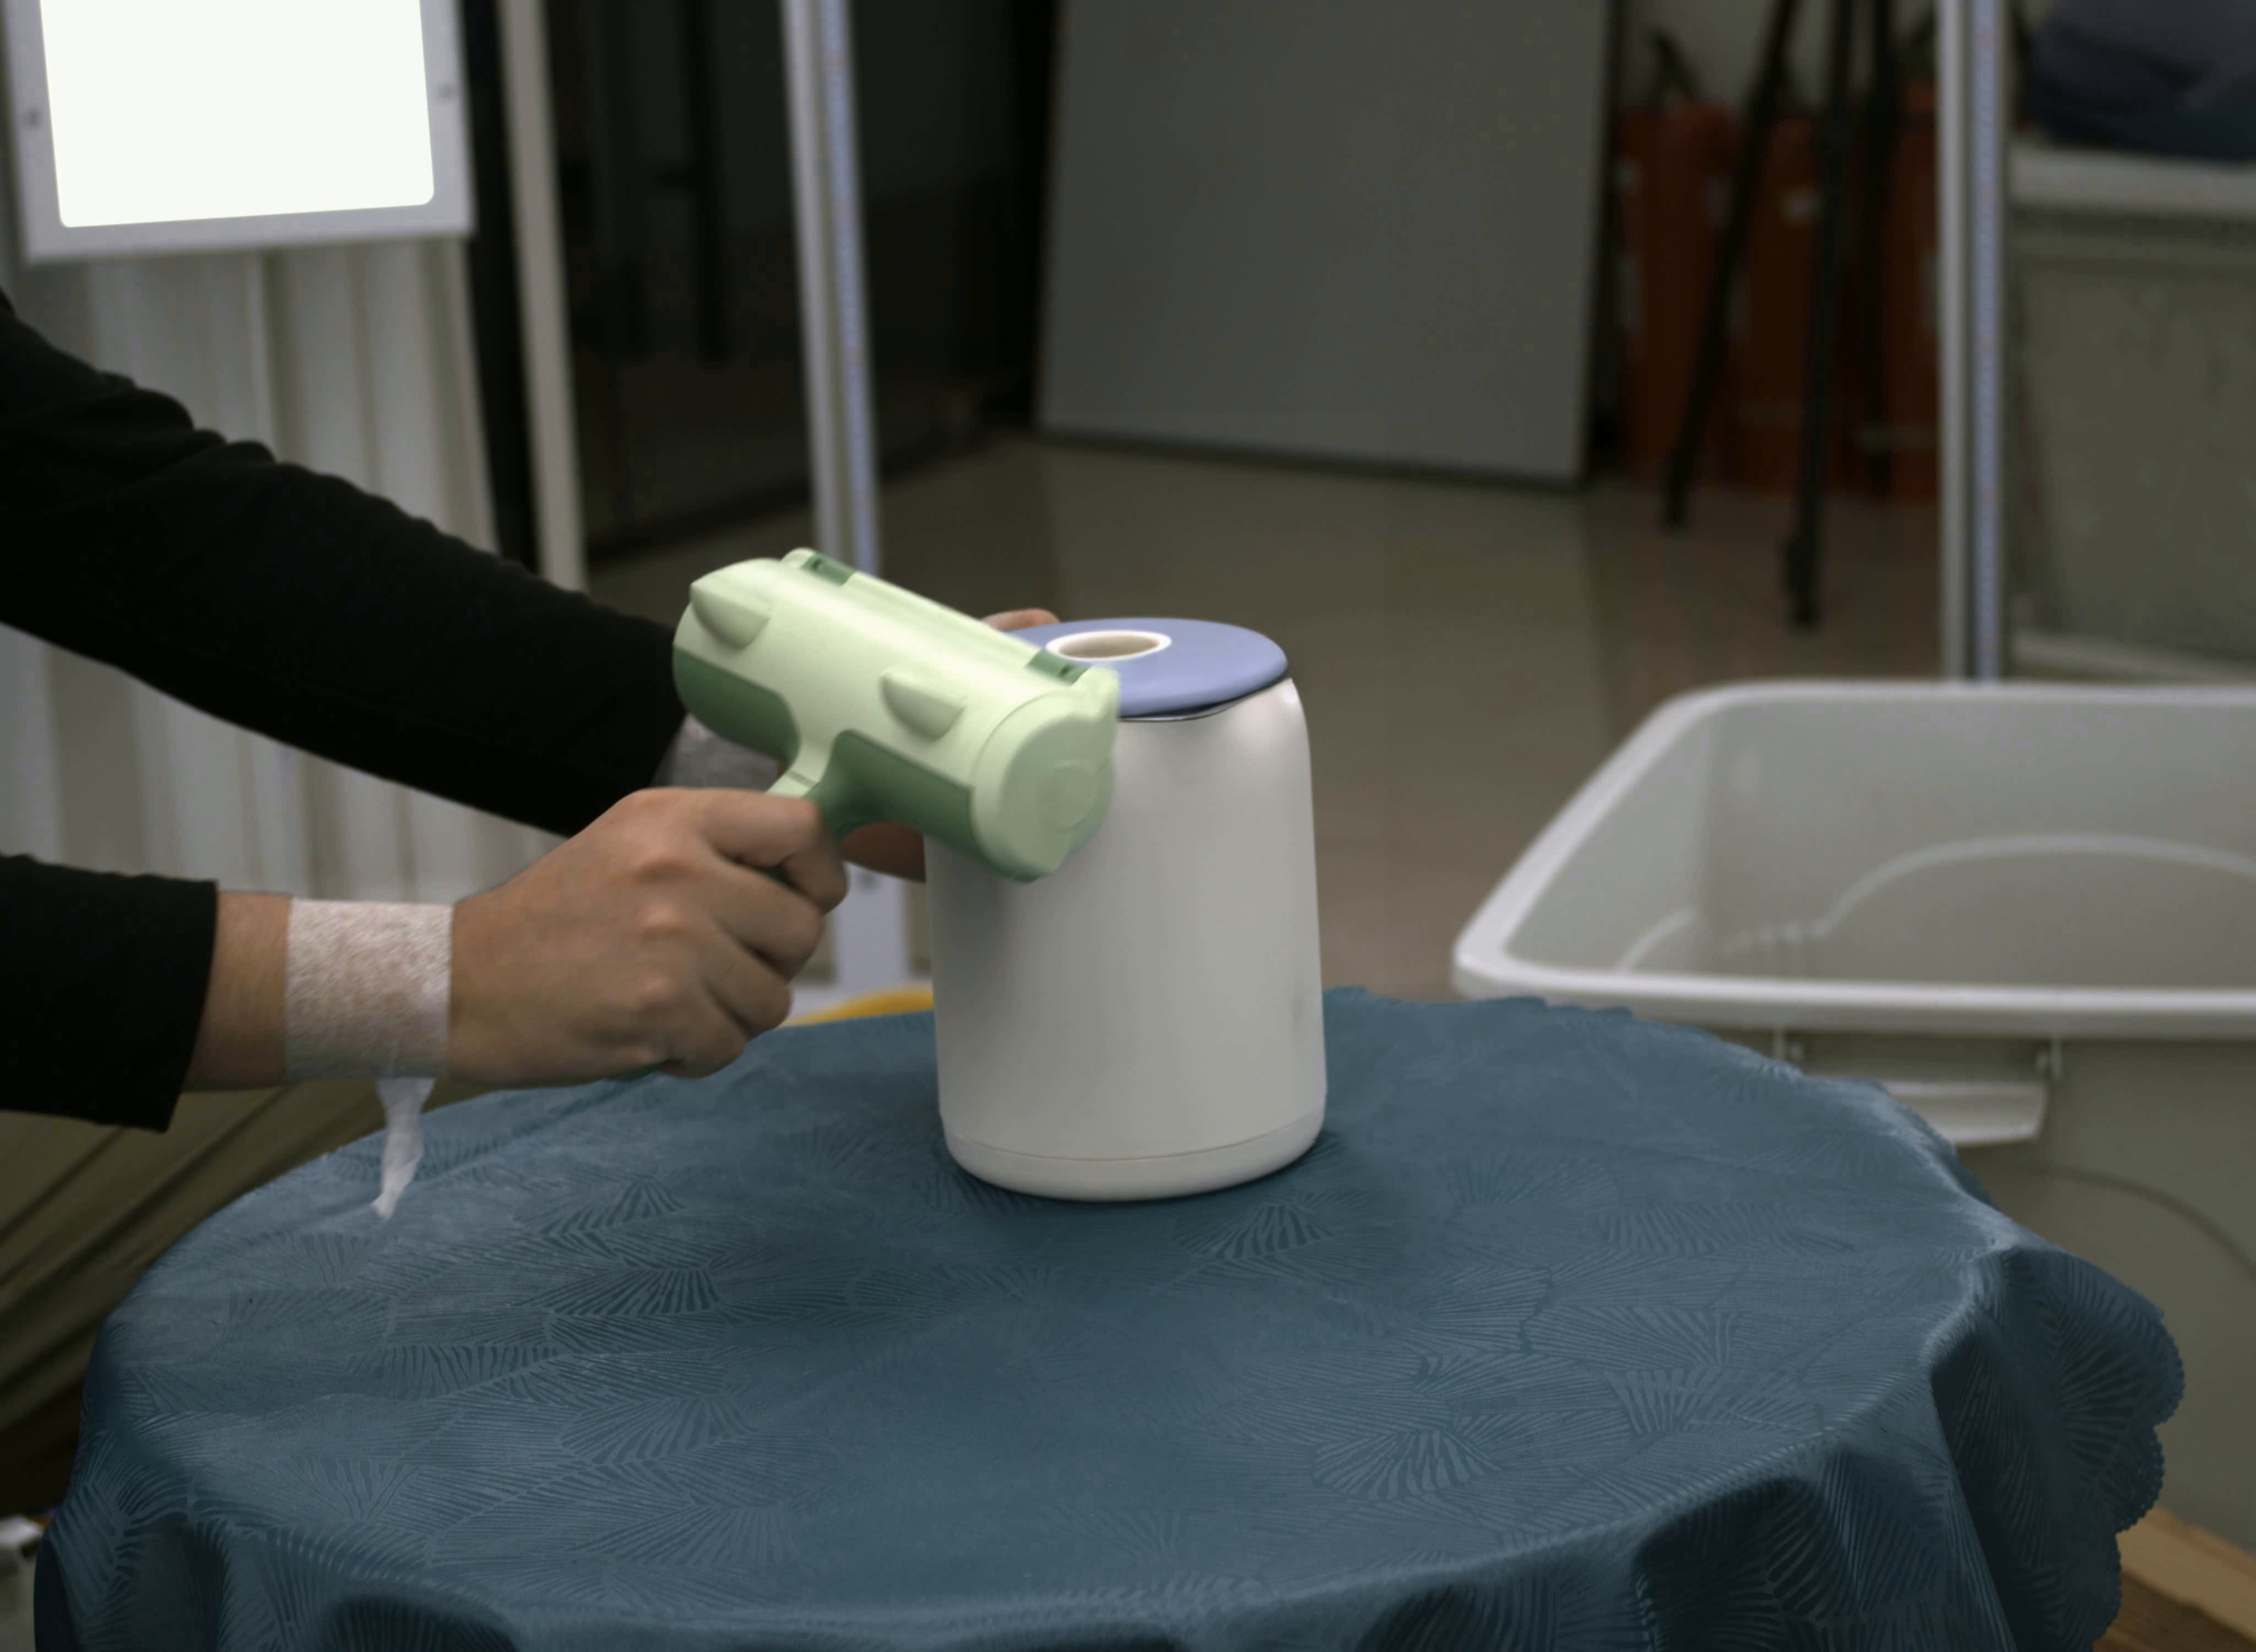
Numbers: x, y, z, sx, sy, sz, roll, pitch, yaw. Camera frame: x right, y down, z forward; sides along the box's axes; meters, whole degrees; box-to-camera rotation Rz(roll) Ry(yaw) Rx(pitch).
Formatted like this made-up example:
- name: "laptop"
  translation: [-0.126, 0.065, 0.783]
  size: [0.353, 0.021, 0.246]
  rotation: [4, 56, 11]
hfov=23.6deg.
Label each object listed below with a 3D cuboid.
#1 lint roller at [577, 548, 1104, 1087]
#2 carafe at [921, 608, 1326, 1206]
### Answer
- name: "lint roller"
  translation: [-0.120, -0.005, 1.690]
  size: [0.182, 0.082, 0.201]
  rotation: [-44, 34, -15]
- name: "carafe"
  translation: [-0.013, 0.022, 1.816]
  size: [0.129, 0.184, 0.193]
  rotation: [-9, 13, -24]
